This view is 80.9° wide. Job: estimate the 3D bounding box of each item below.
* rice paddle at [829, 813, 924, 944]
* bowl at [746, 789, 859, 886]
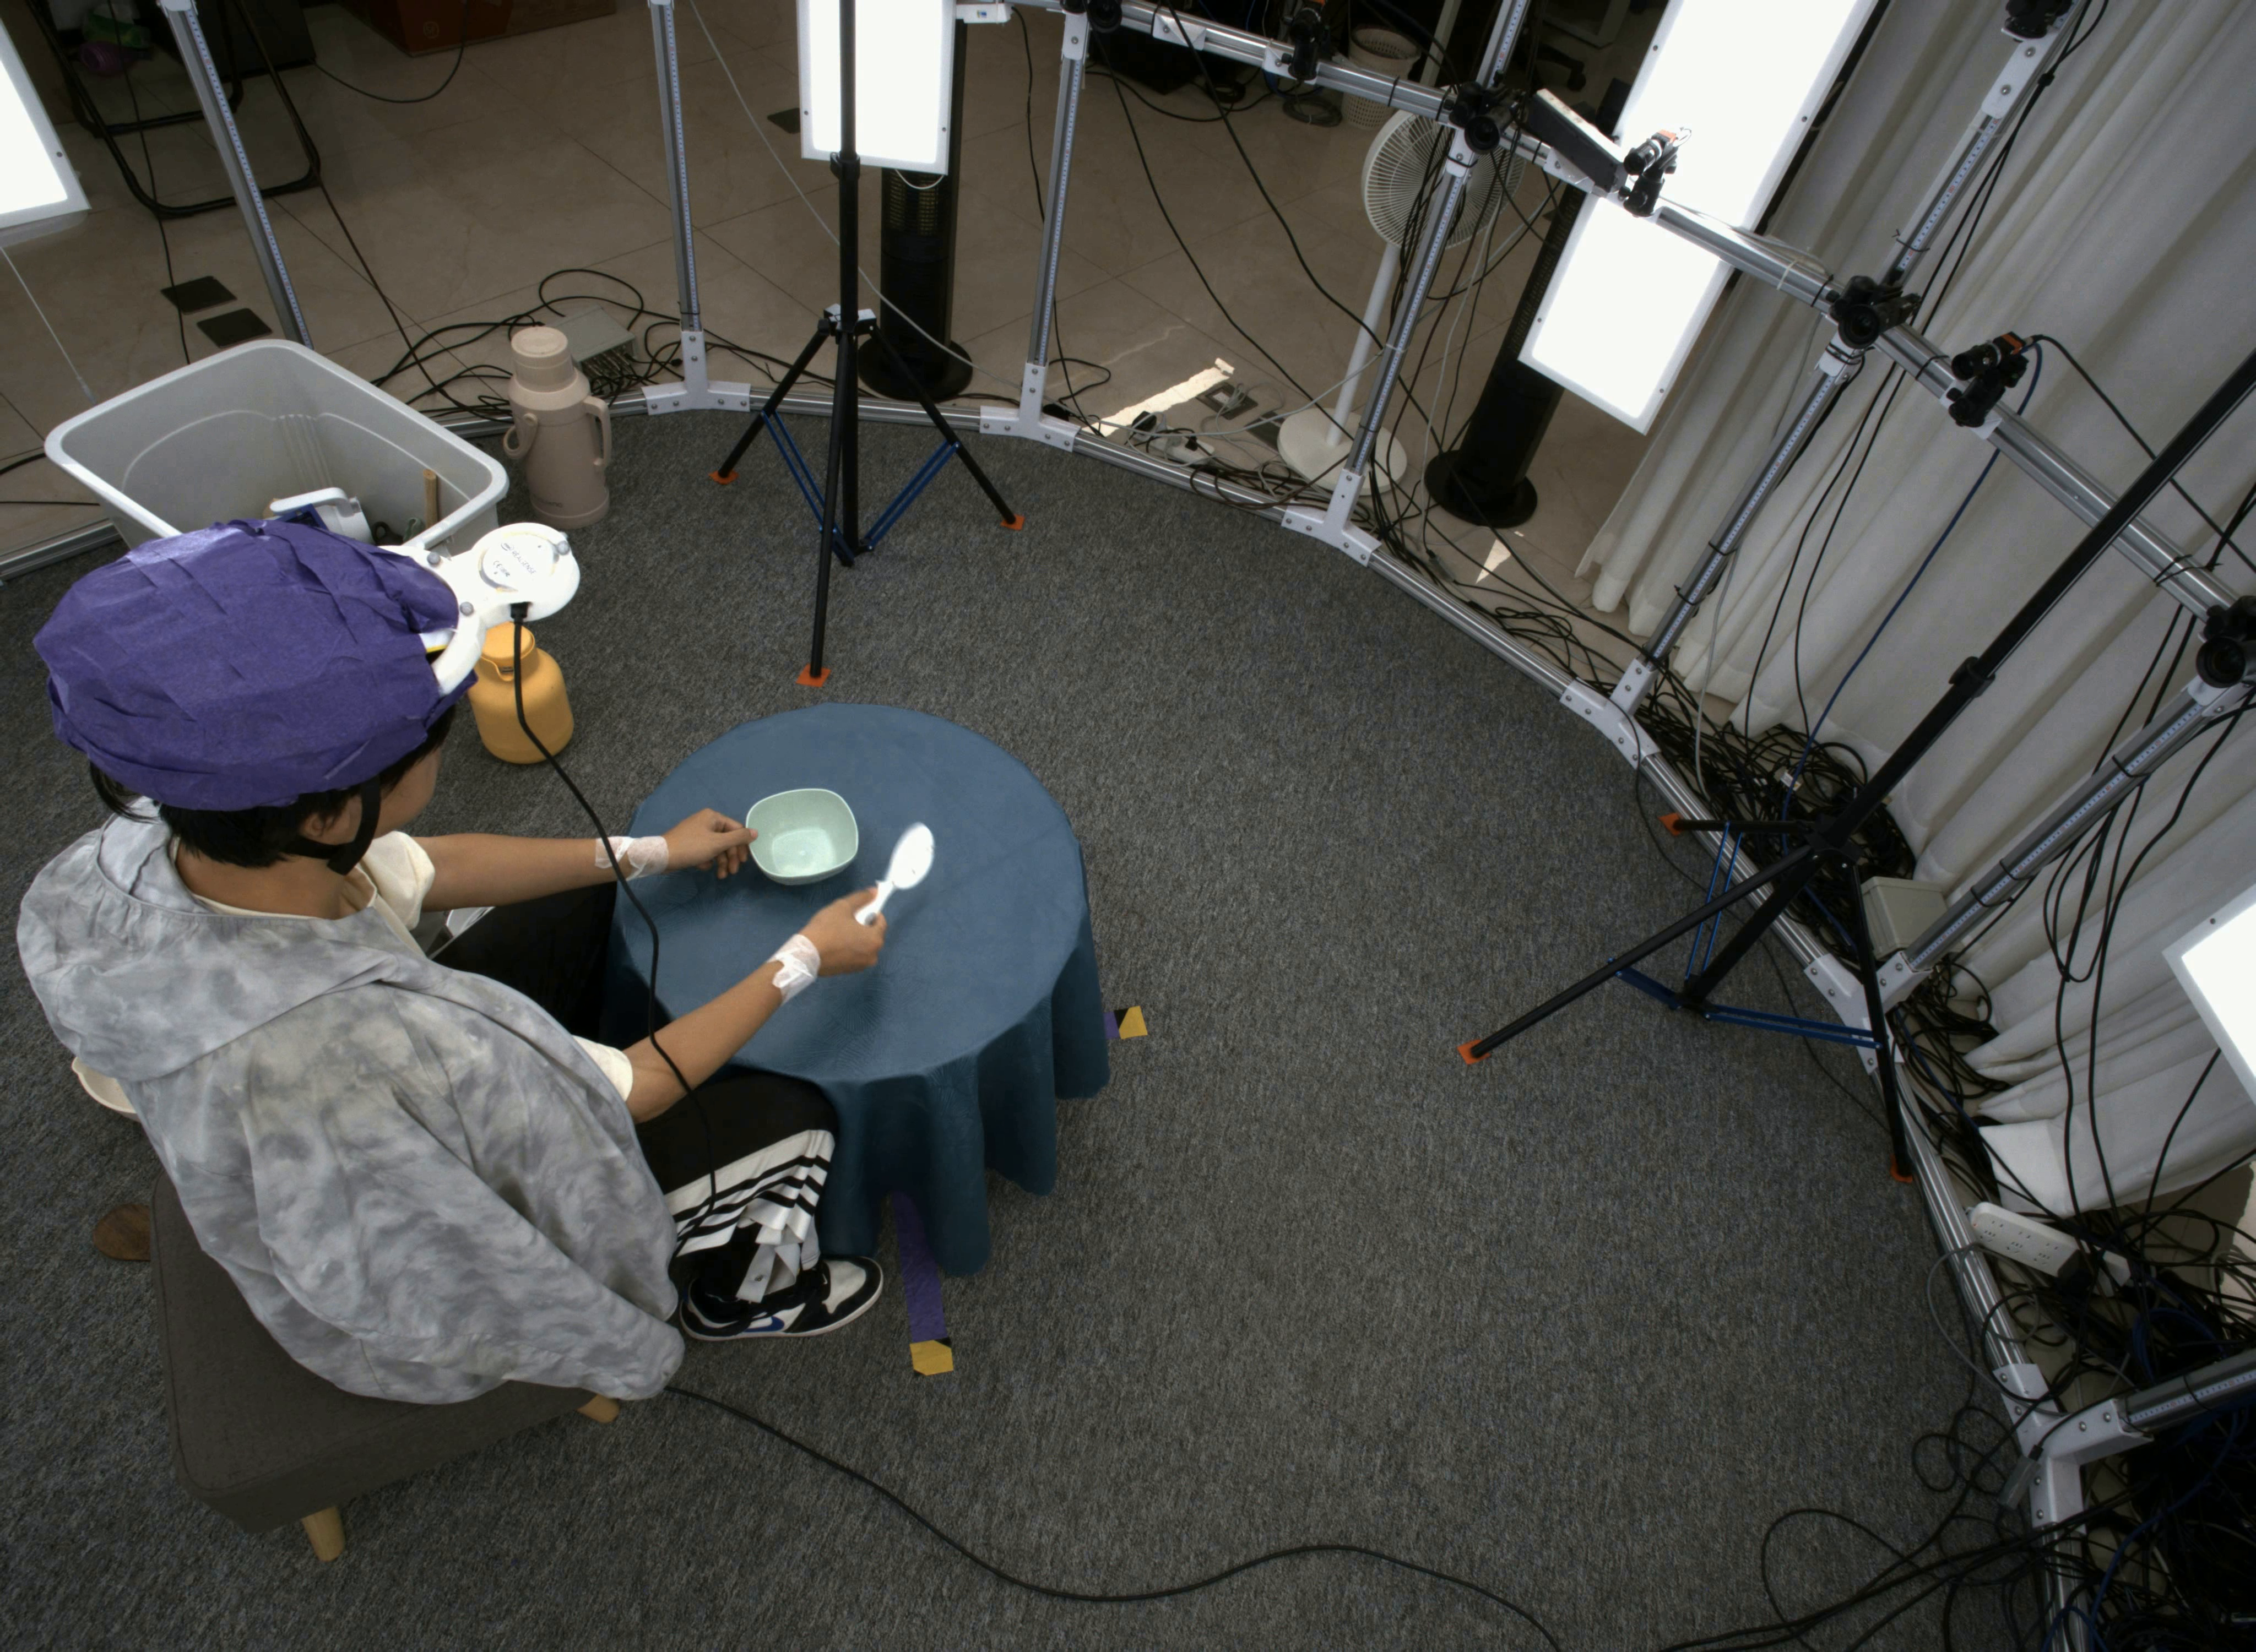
[{"bbox_3d":[-0.300,0.060,1.594,0.028,0.071,0.204,8,44,24],"label":"rice paddle"},{"bbox_3d":[-0.419,0.024,1.672,0.151,0.060,0.149,9,51,-10],"label":"bowl"}]
